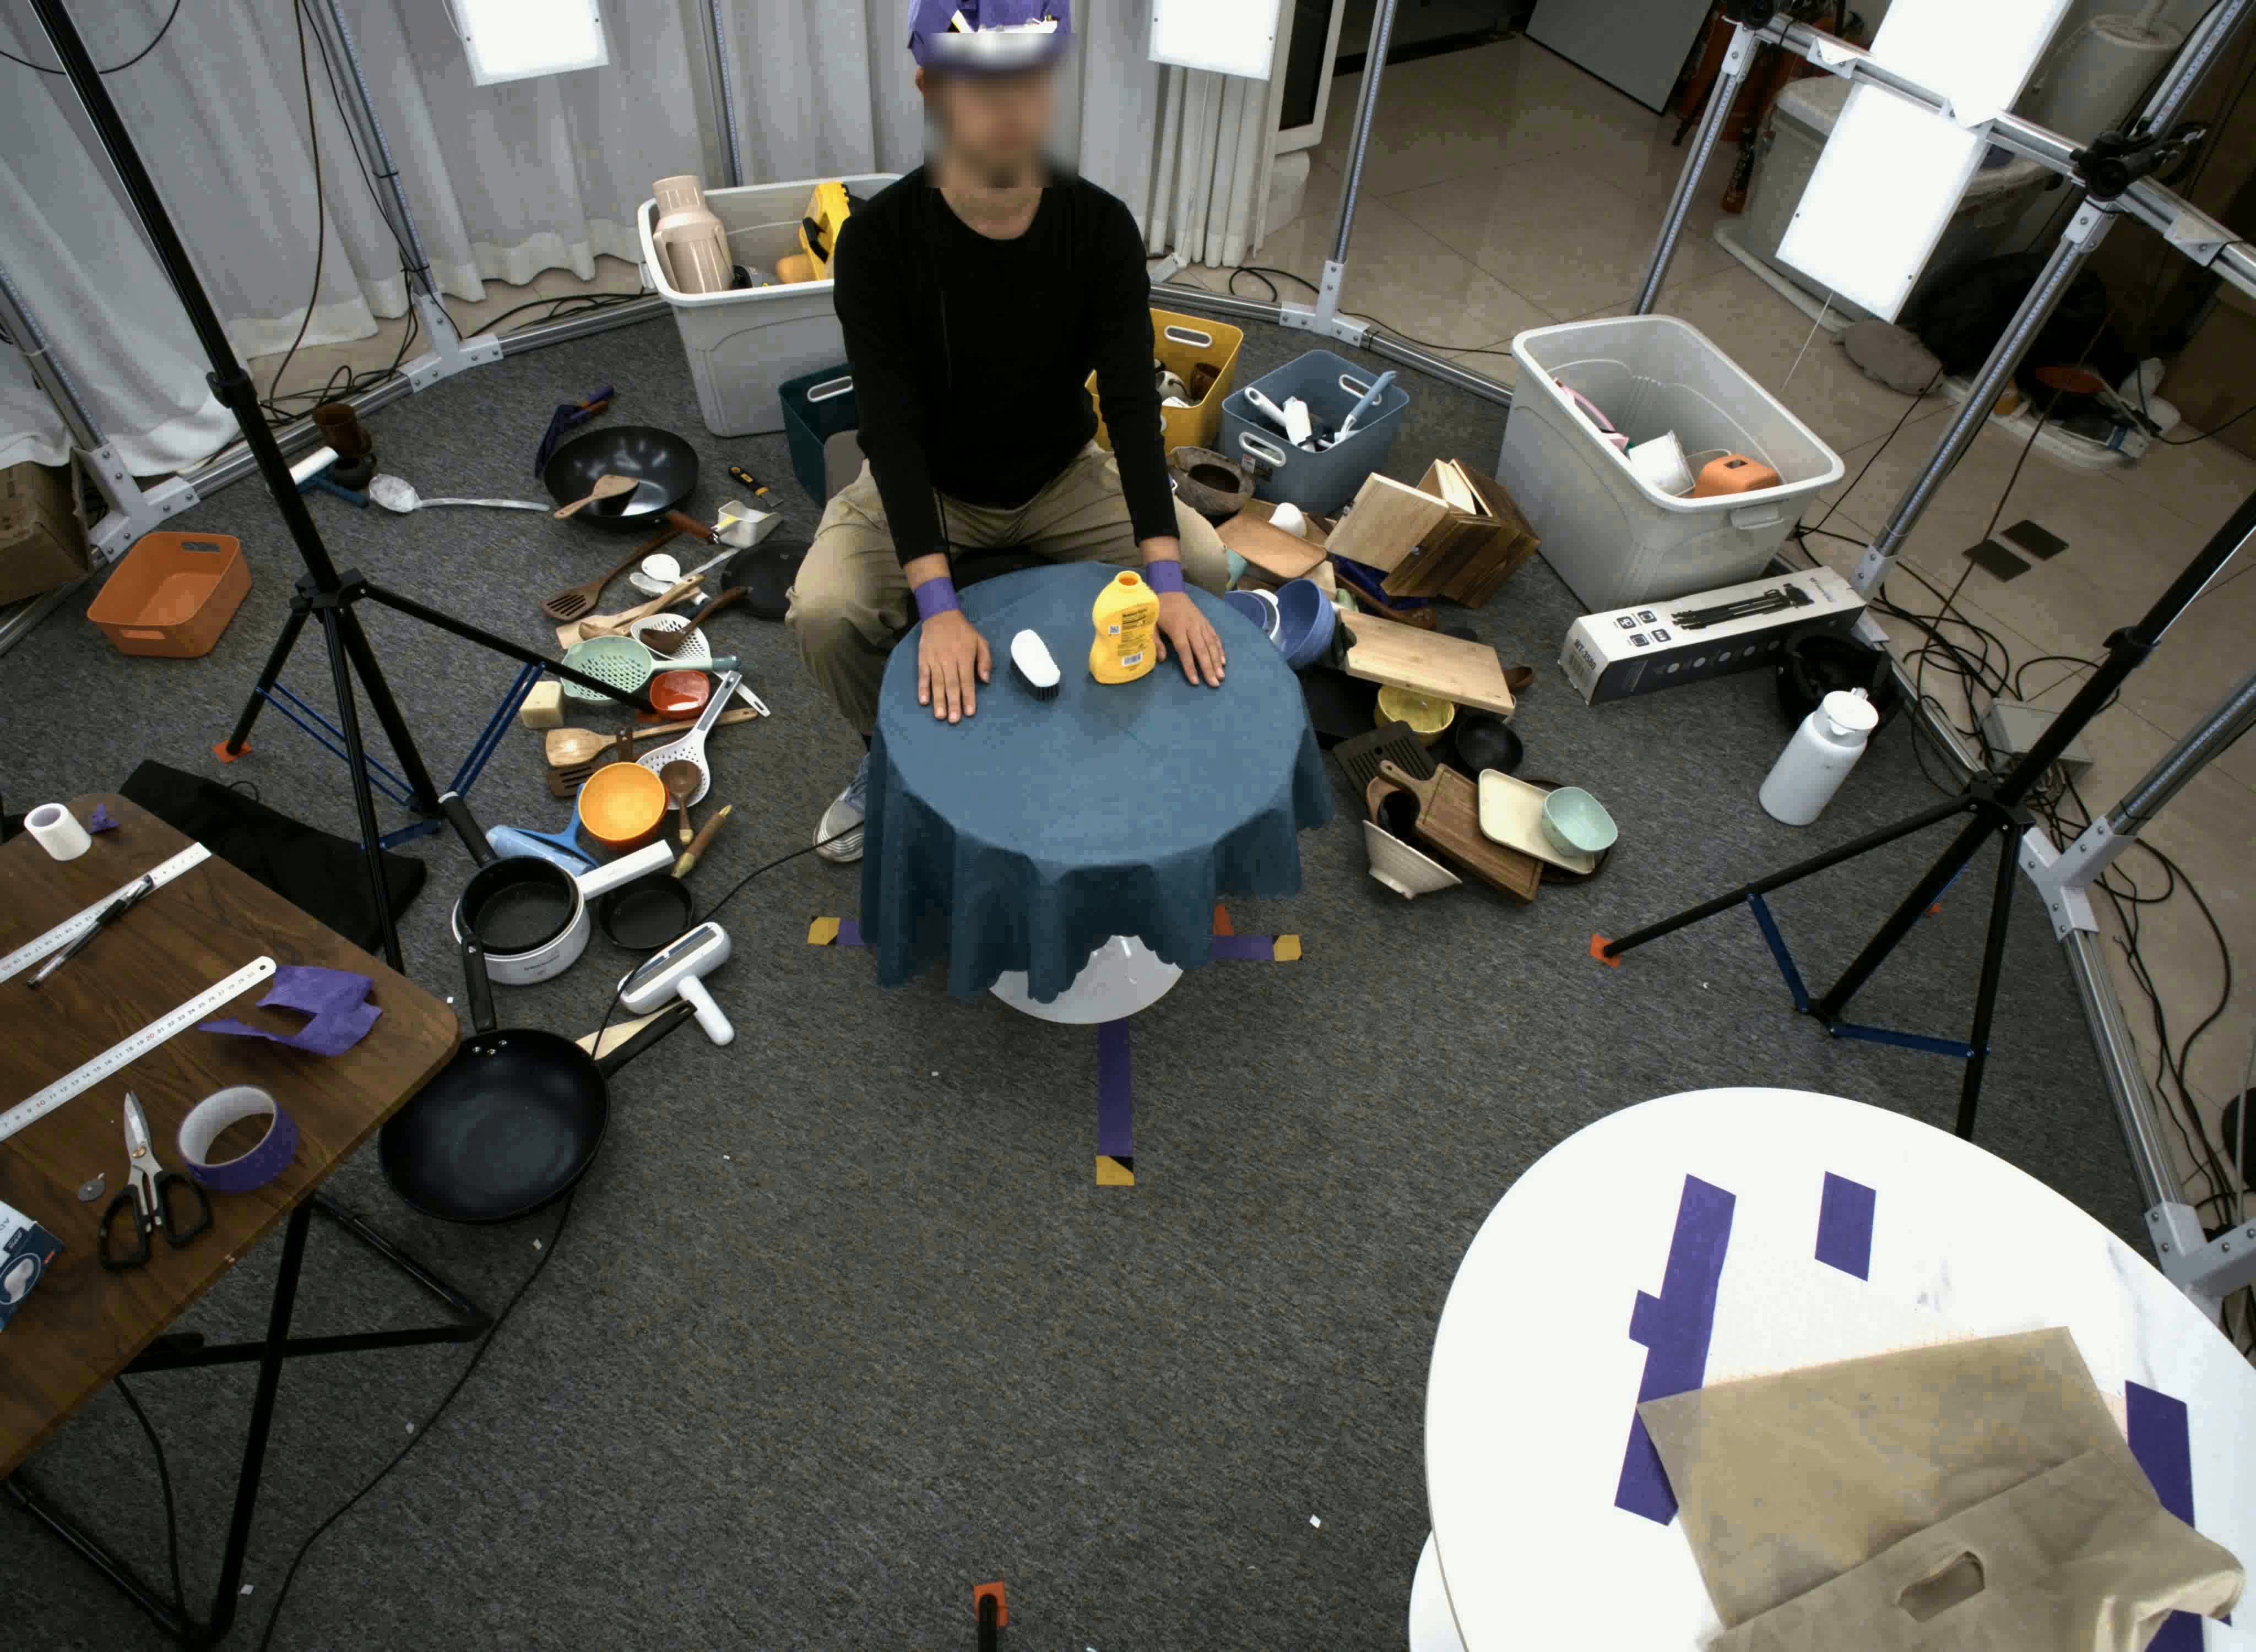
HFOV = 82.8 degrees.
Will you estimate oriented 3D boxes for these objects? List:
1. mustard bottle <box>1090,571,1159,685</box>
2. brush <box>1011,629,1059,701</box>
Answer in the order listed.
[{"bbox_3d":[-0.005,-0.279,1.800,0.098,0.168,0.060,-19,51,-17],"label":"mustard bottle"},{"bbox_3d":[-0.131,-0.235,1.813,0.050,0.071,0.101,-19,54,-21],"label":"brush"}]
